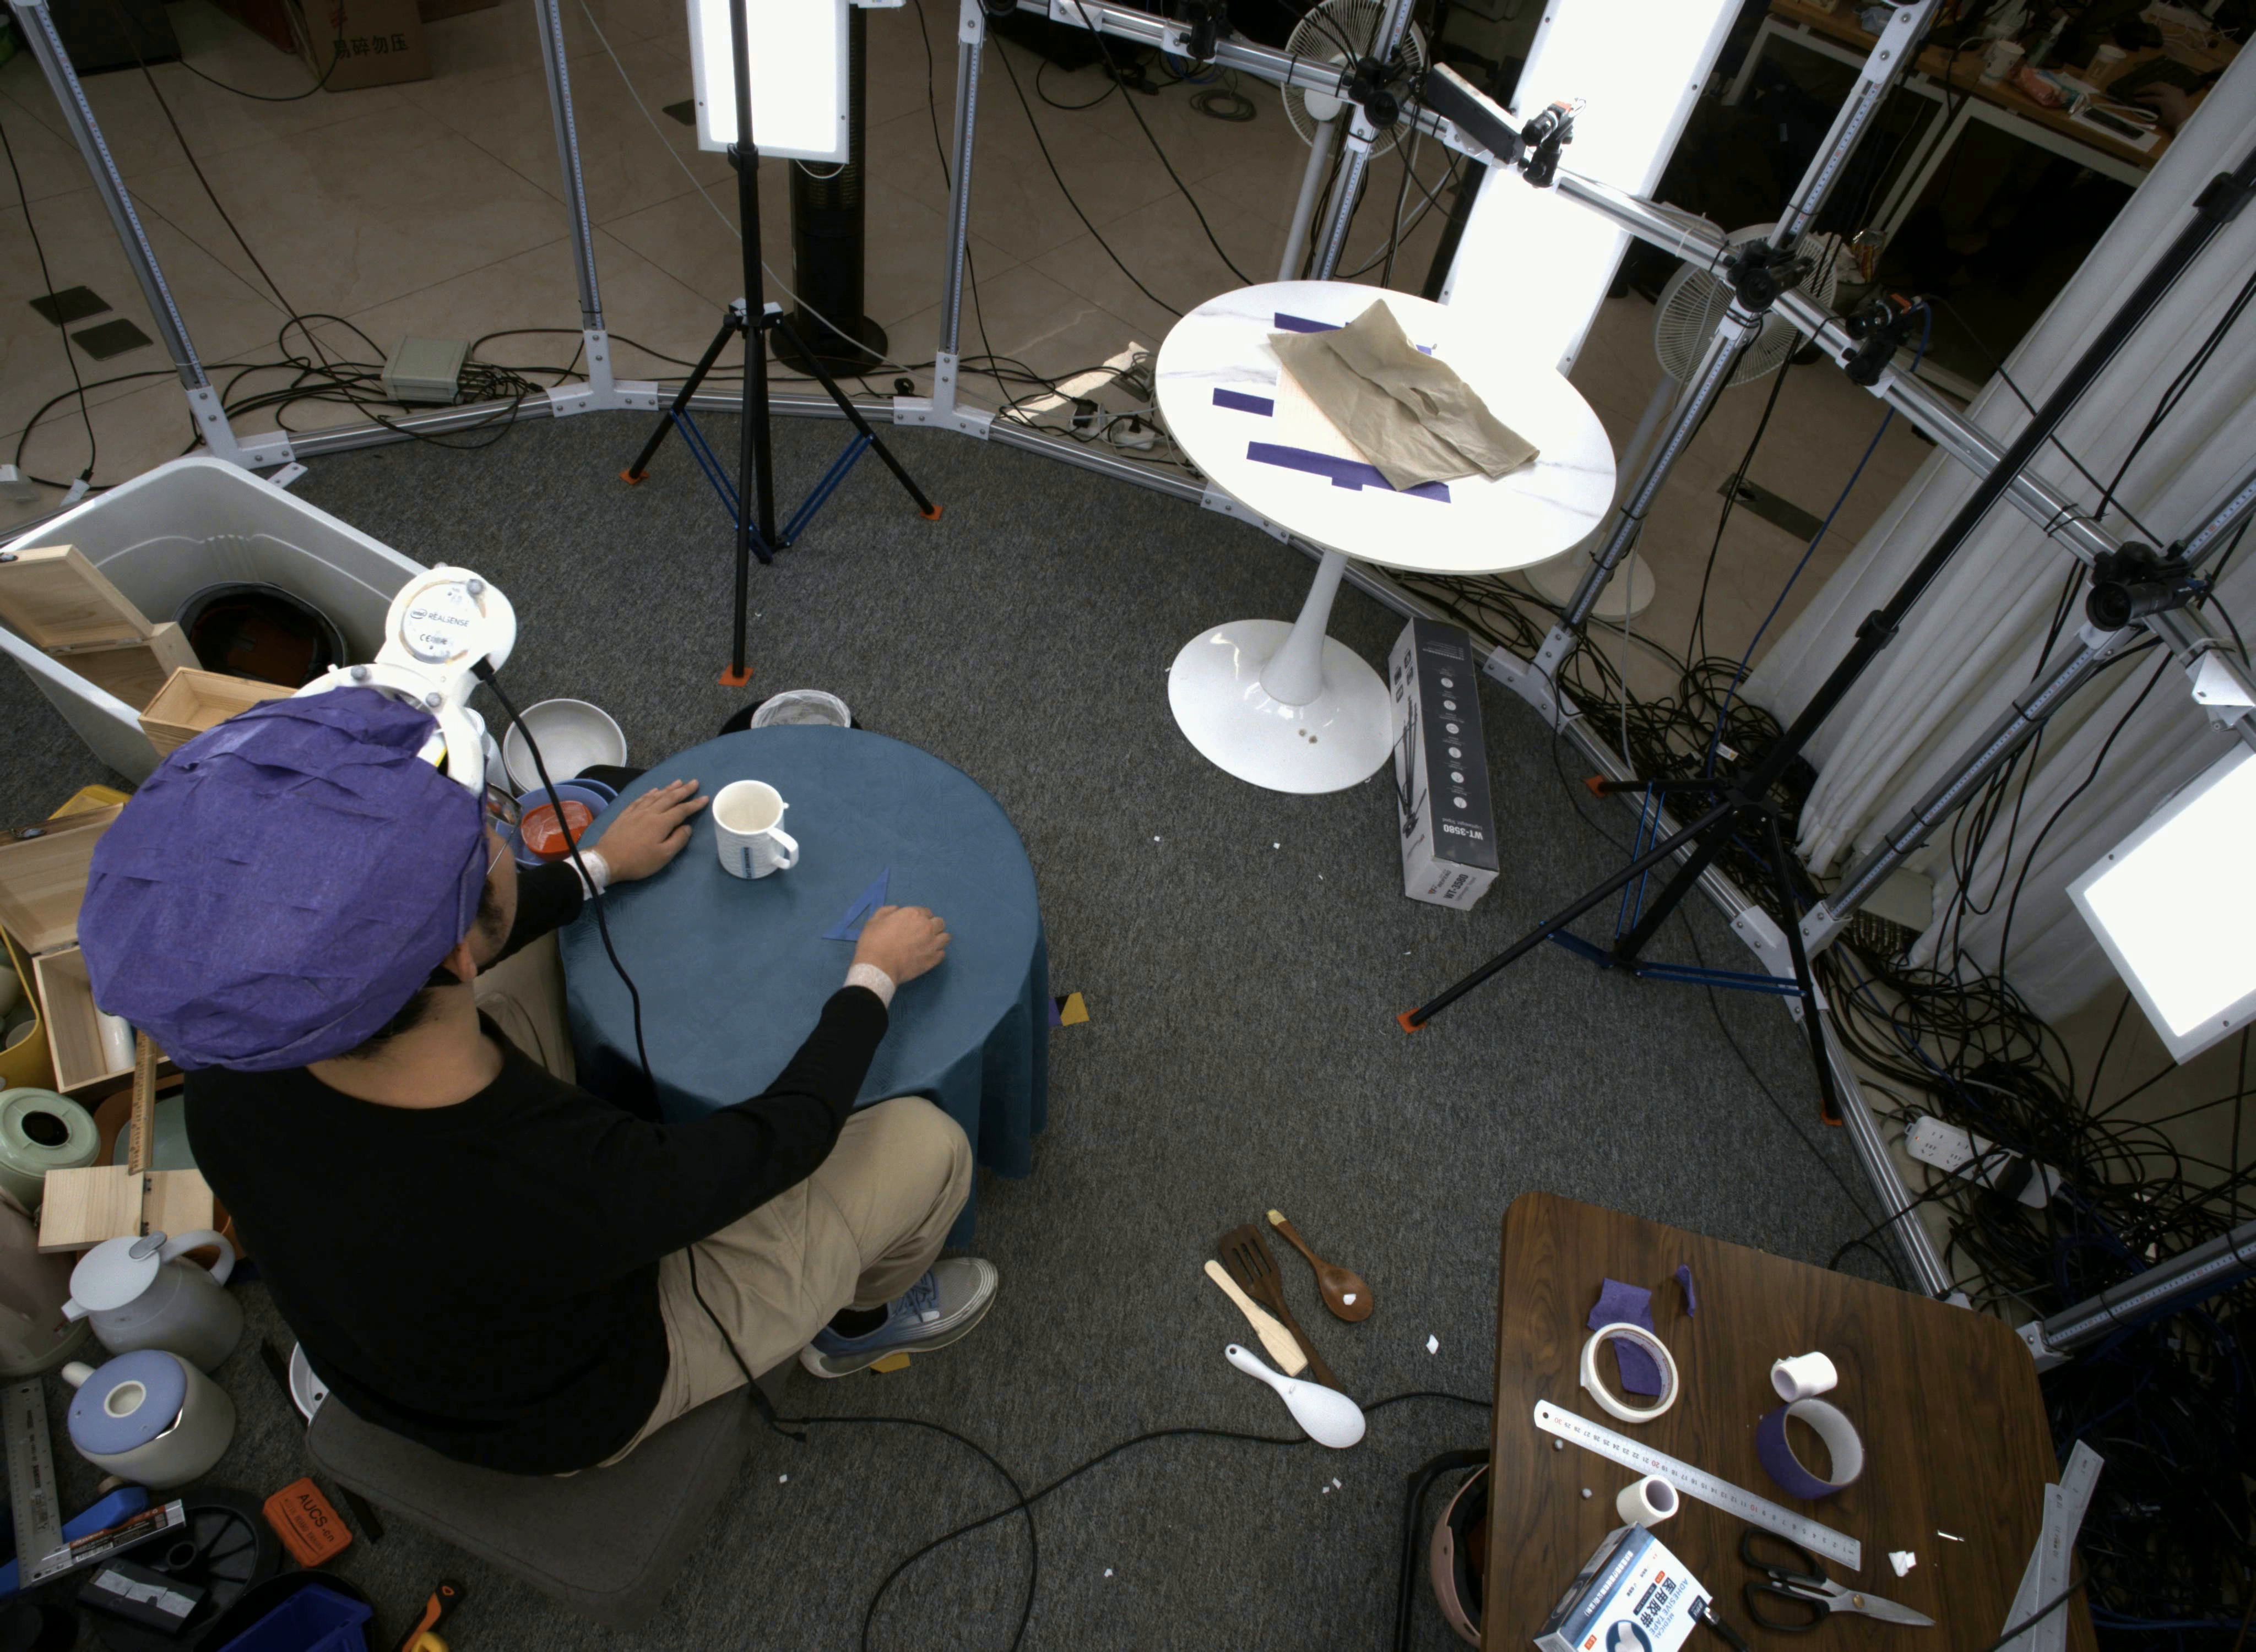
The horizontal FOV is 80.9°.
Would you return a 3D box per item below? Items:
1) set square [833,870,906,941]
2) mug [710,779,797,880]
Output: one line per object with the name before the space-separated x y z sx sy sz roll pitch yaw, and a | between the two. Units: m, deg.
set square | -0.314 0.106 1.666 0.060 0.007 0.132 33 53 14
mug | -0.466 0.013 1.632 0.116 0.104 0.084 30 52 11
